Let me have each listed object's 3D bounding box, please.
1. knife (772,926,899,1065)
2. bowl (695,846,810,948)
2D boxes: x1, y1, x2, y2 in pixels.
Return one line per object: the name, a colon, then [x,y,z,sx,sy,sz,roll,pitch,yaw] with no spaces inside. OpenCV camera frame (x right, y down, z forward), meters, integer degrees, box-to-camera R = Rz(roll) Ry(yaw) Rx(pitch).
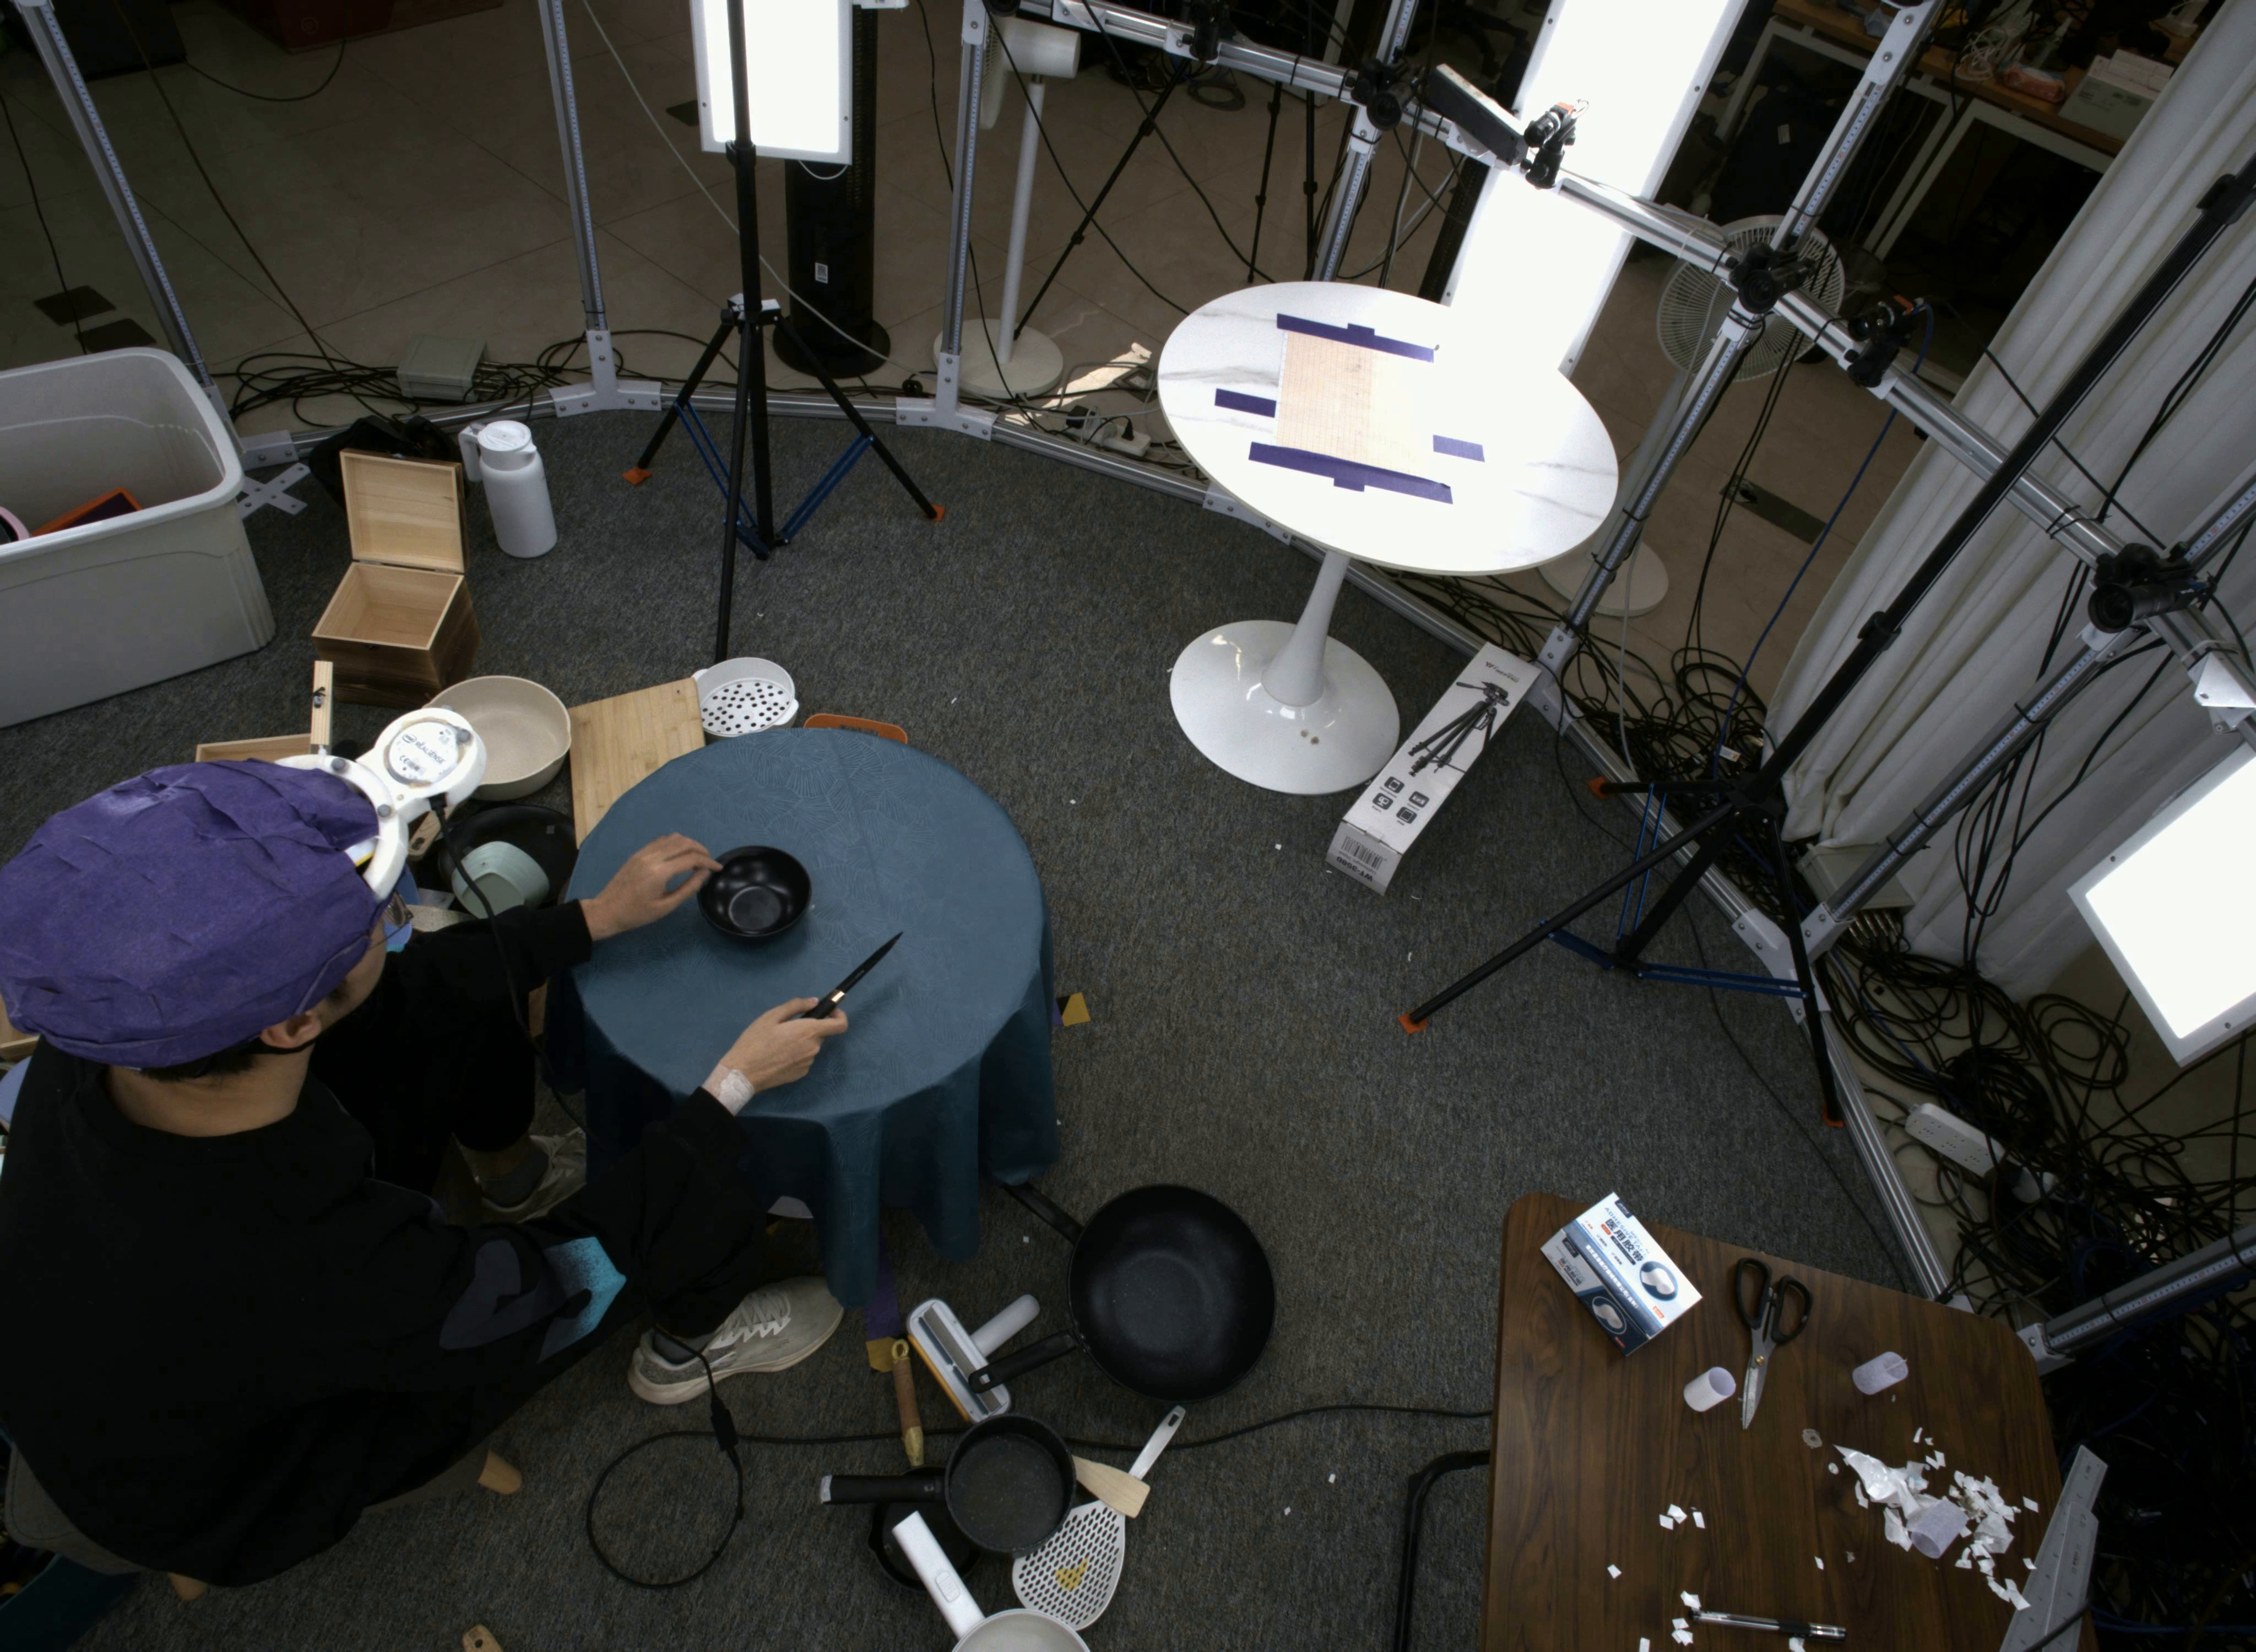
knife: [-0.338,0.192,1.525,0.025,0.018,0.225,13,47,36]
bowl: [-0.464,0.094,1.604,0.140,0.050,0.138,7,56,-9]
